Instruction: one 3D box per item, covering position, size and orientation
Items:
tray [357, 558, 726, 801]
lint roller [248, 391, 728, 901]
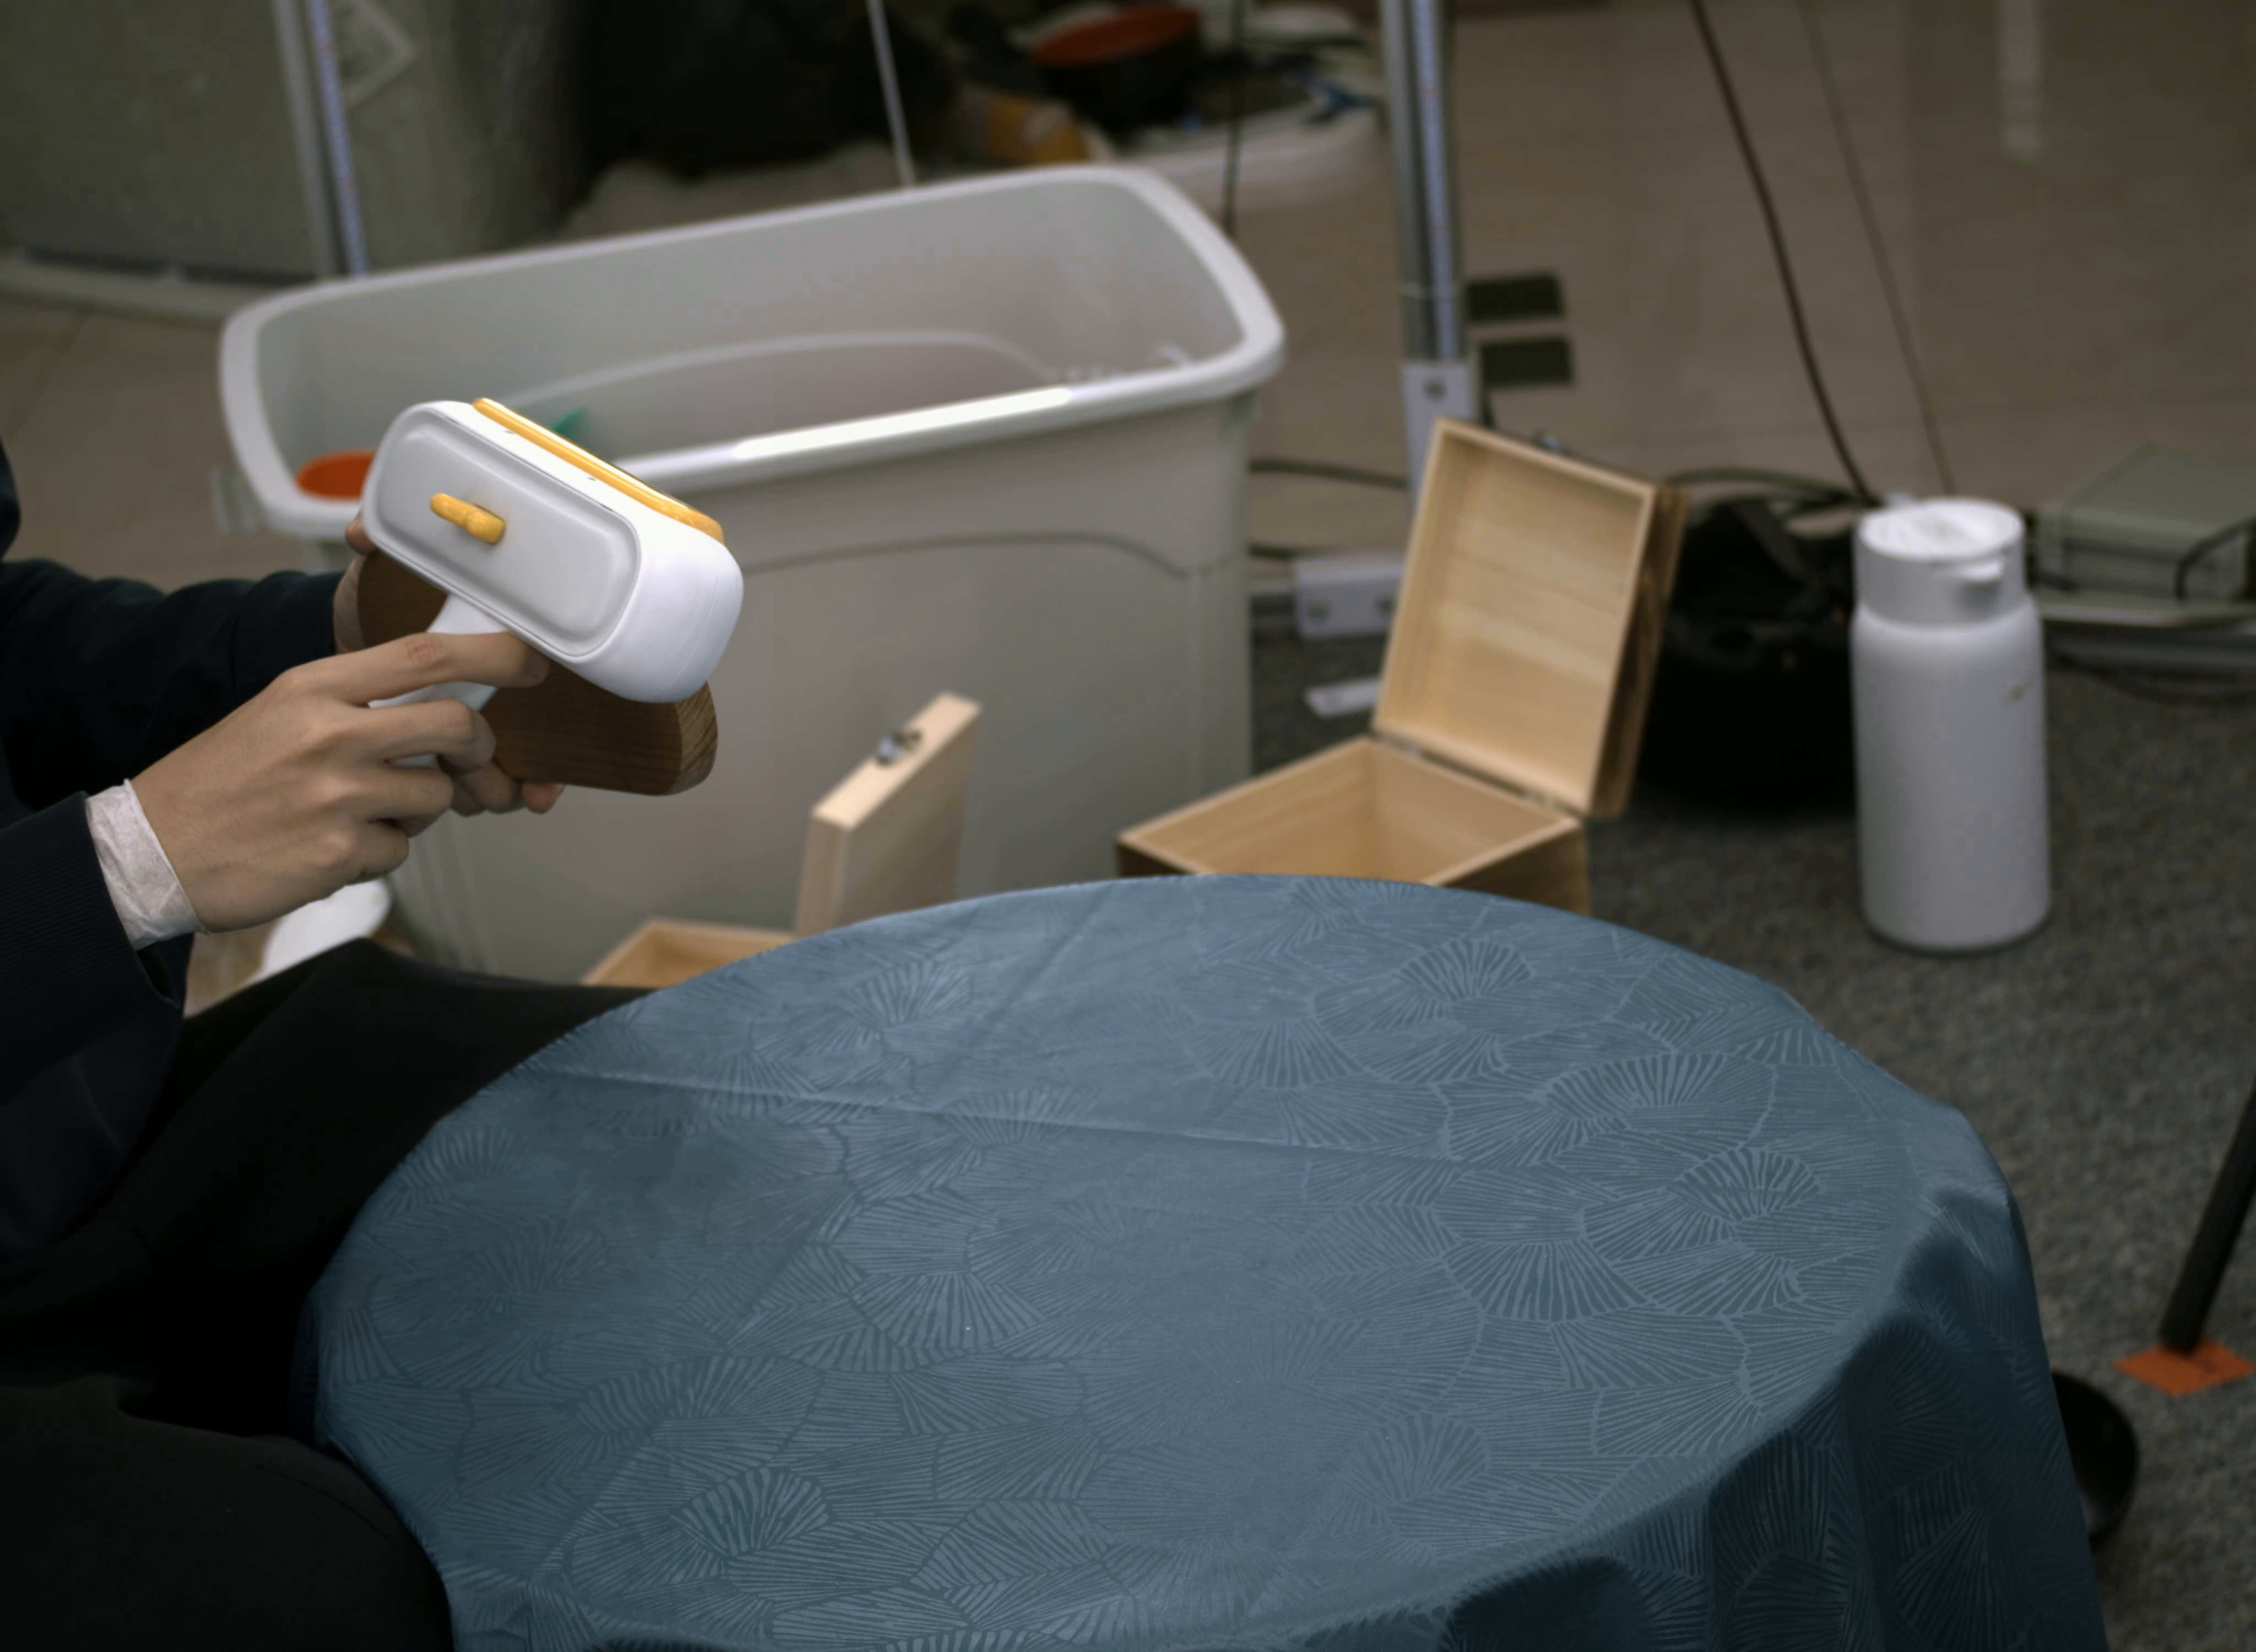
[{"bbox_3d":[-0.224,-0.061,2.130,0.020,0.103,0.230,-30,22,-31],"label":"tray"},{"bbox_3d":[-0.247,-0.055,2.028,0.191,0.192,0.075,25,-2,41],"label":"lint roller"}]
